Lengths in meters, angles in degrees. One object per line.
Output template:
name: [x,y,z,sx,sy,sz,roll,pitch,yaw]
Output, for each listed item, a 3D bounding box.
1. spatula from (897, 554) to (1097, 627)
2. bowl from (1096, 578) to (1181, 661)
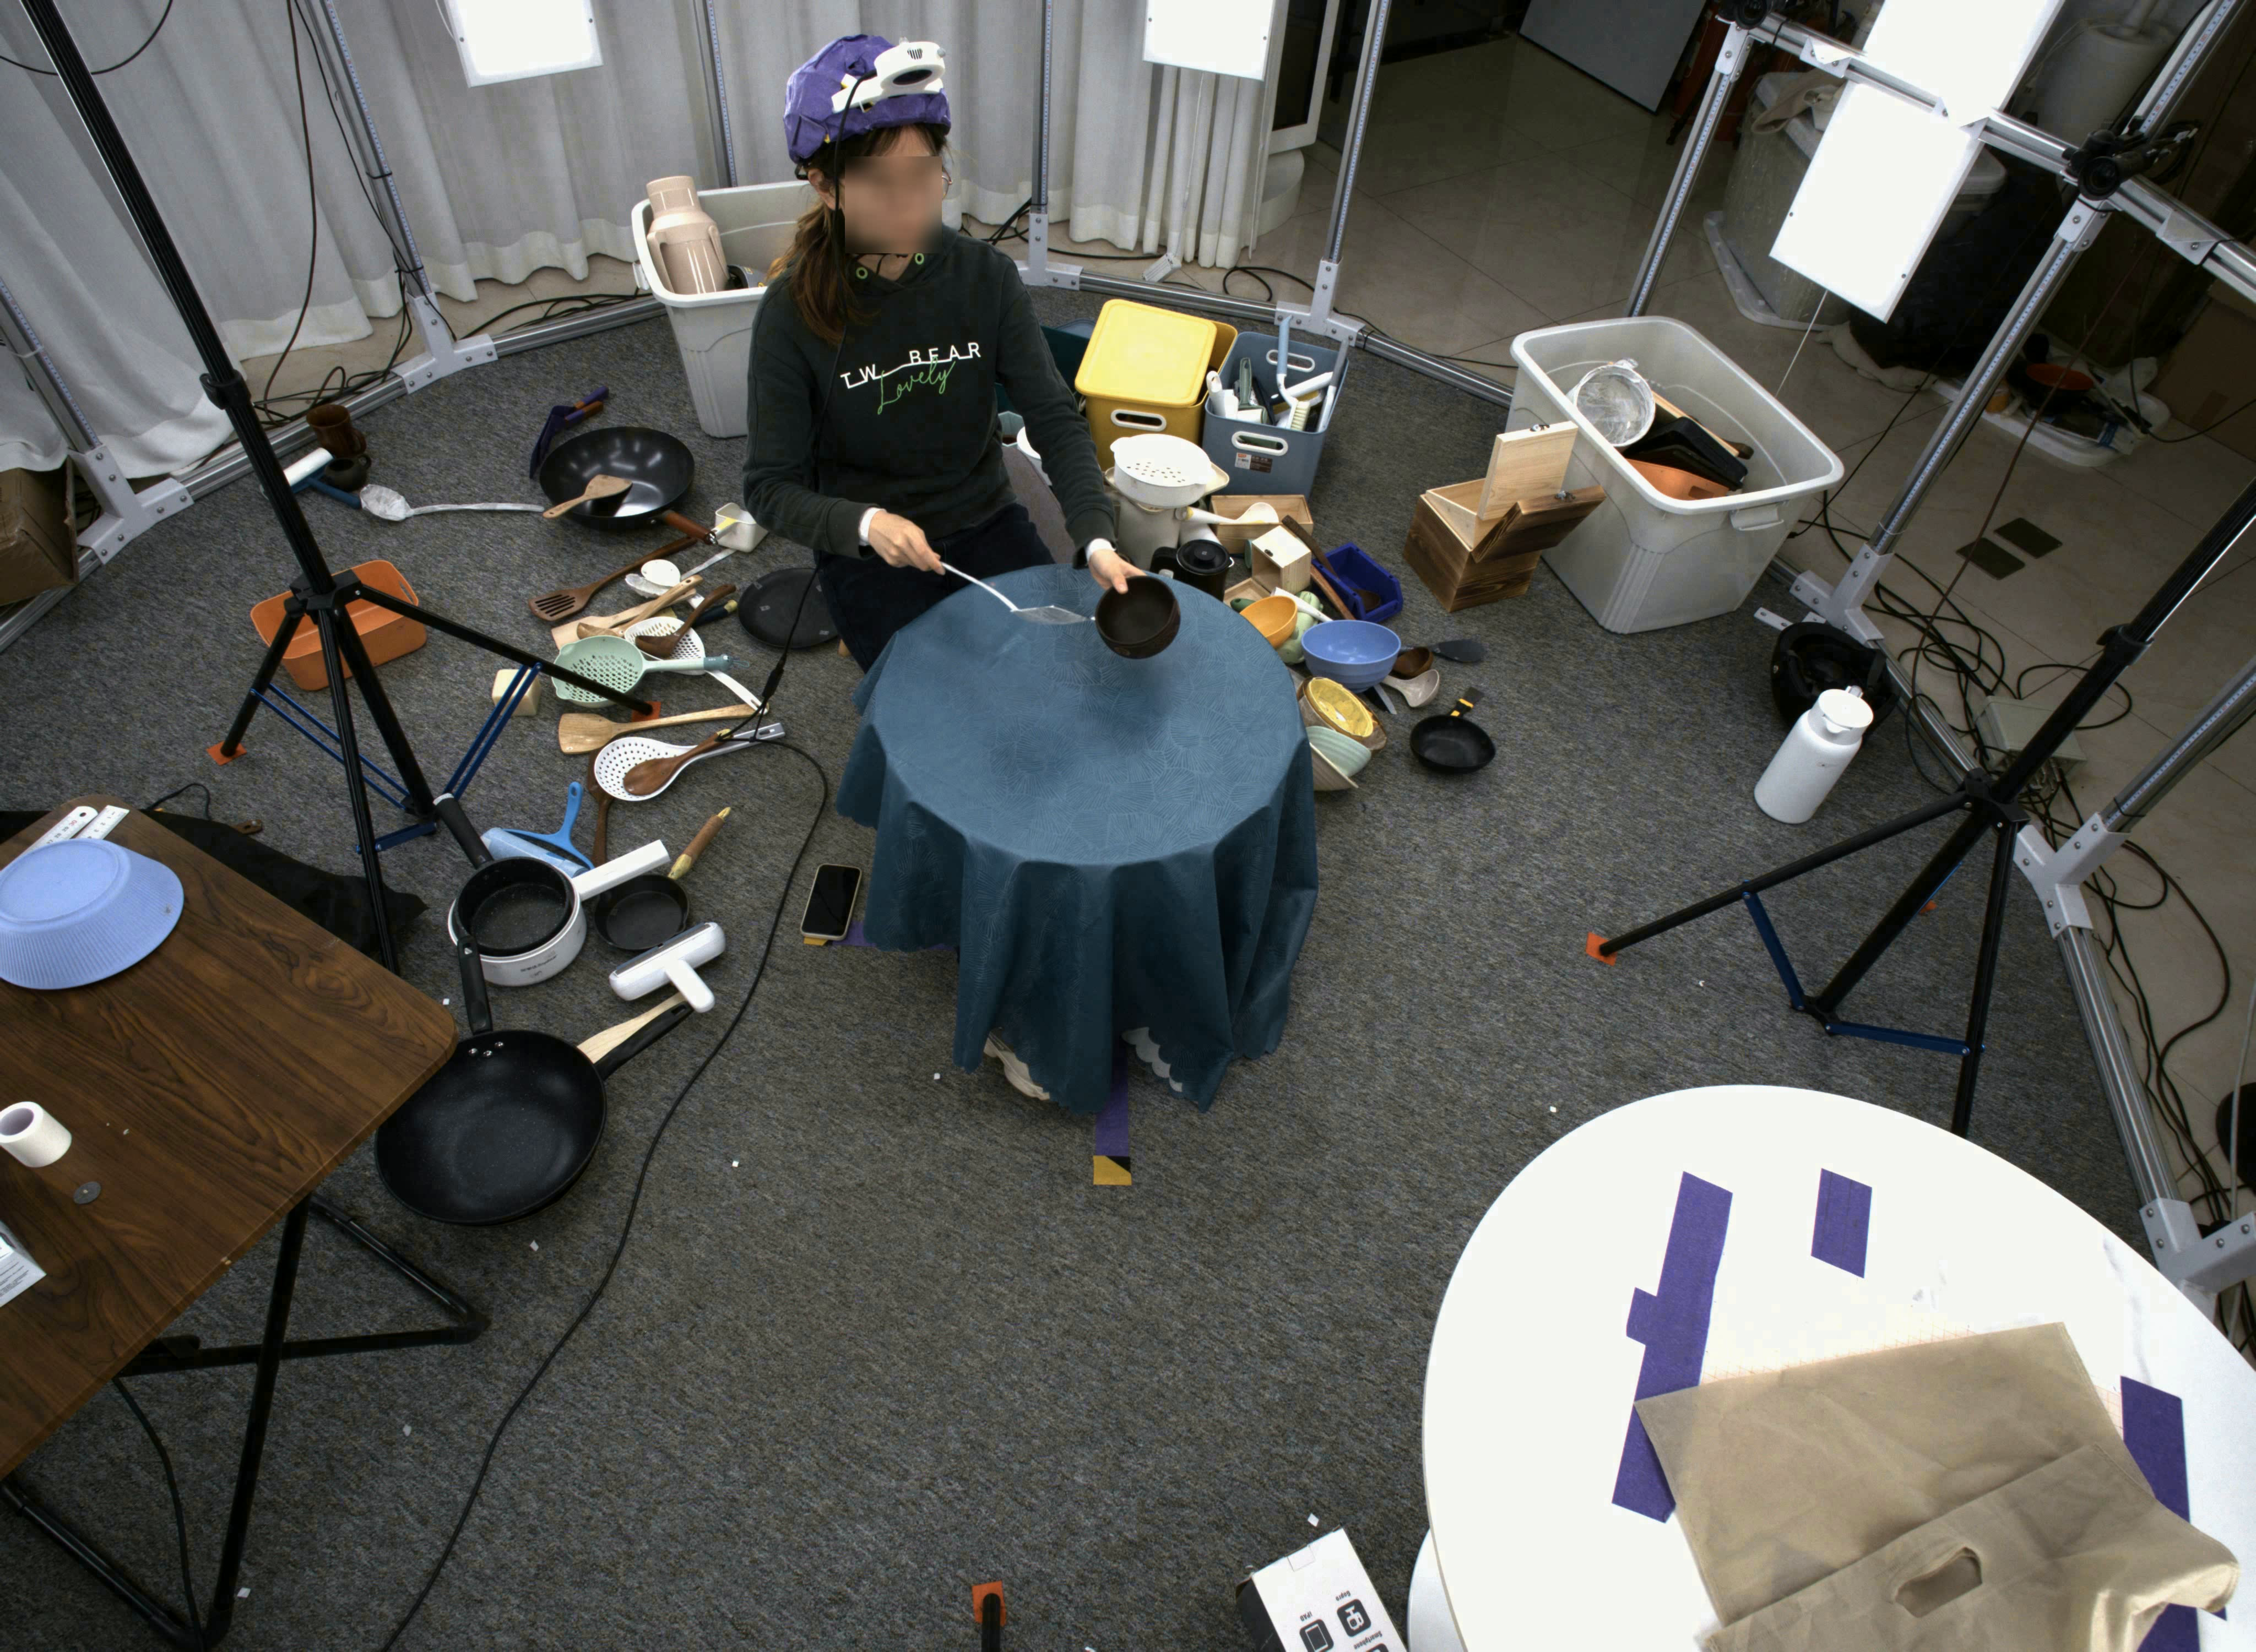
spatula: [-0.199,-0.333,1.777,0.370,0.044,0.098,31,16,32]
bowl: [0.020,-0.284,1.813,0.118,0.068,0.120,-8,58,14]
